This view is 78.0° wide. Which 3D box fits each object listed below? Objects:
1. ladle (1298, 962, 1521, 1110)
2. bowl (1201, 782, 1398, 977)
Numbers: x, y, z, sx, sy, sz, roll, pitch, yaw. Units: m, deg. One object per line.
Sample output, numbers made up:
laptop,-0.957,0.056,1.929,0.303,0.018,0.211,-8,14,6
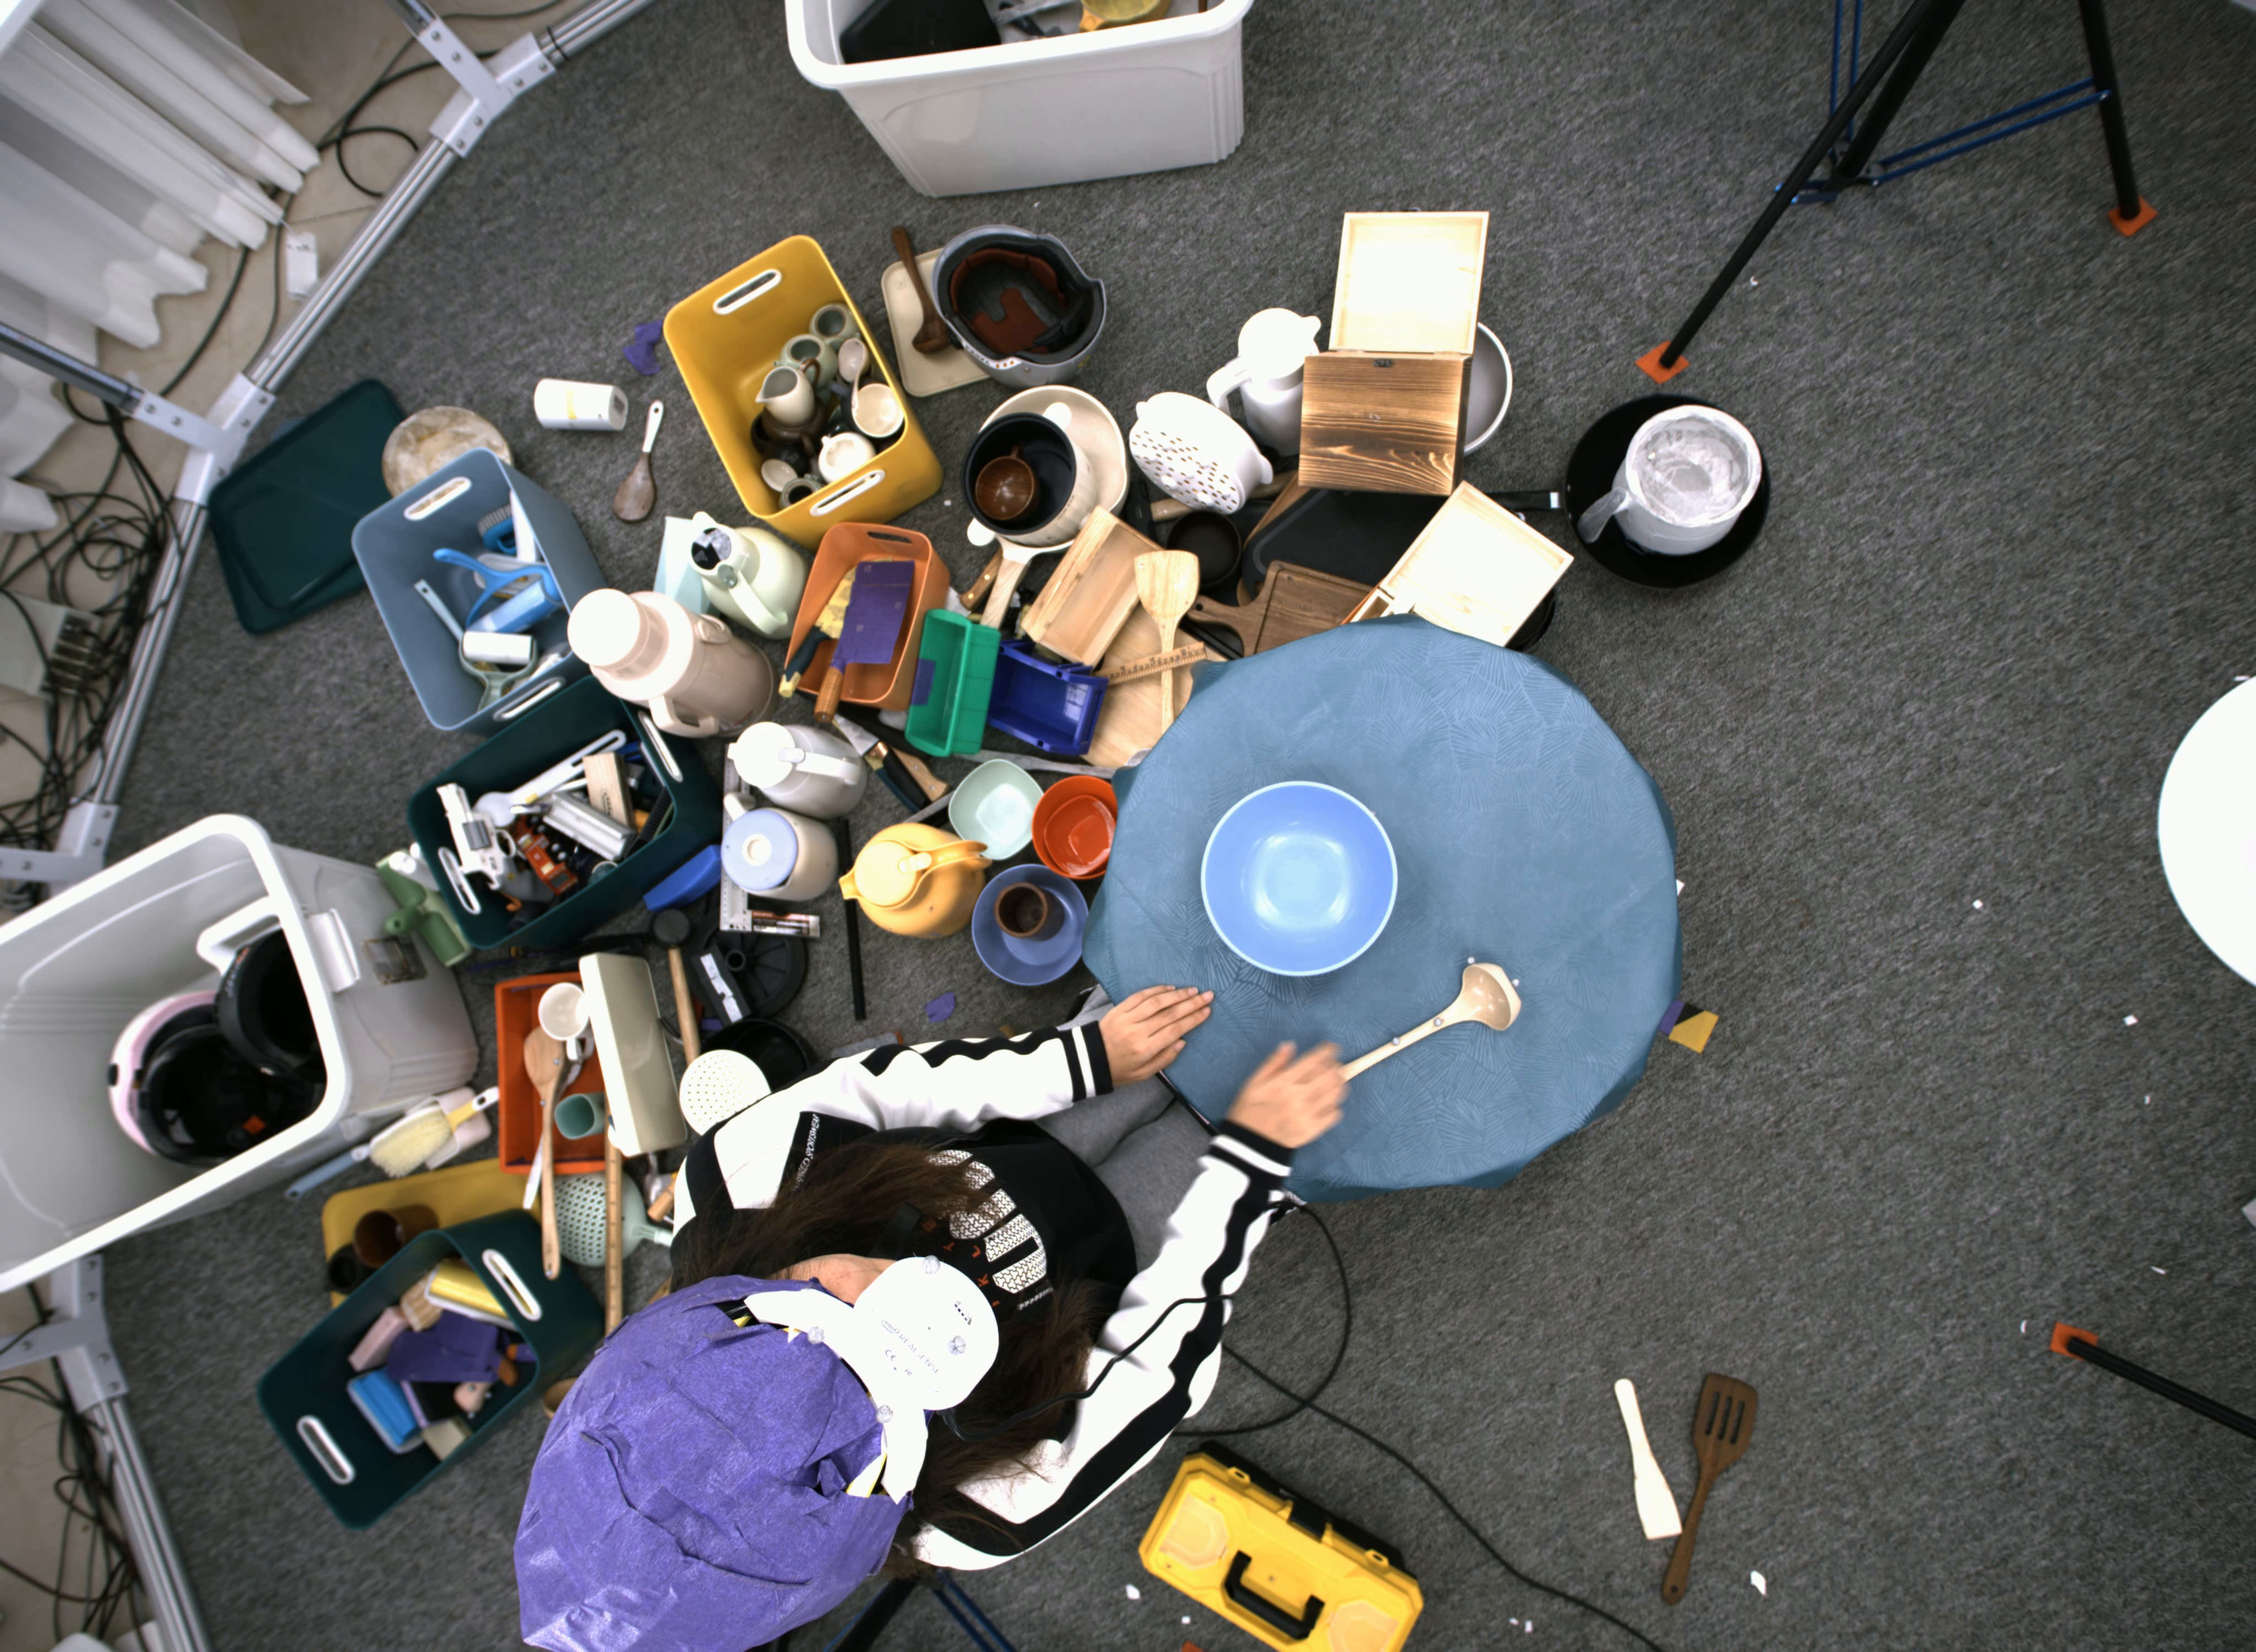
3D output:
ladle,0.282,0.222,1.413,0.256,0.073,0.071,-32,80,7
bowl,0.178,0.056,1.433,0.197,0.095,0.196,-1,88,10
